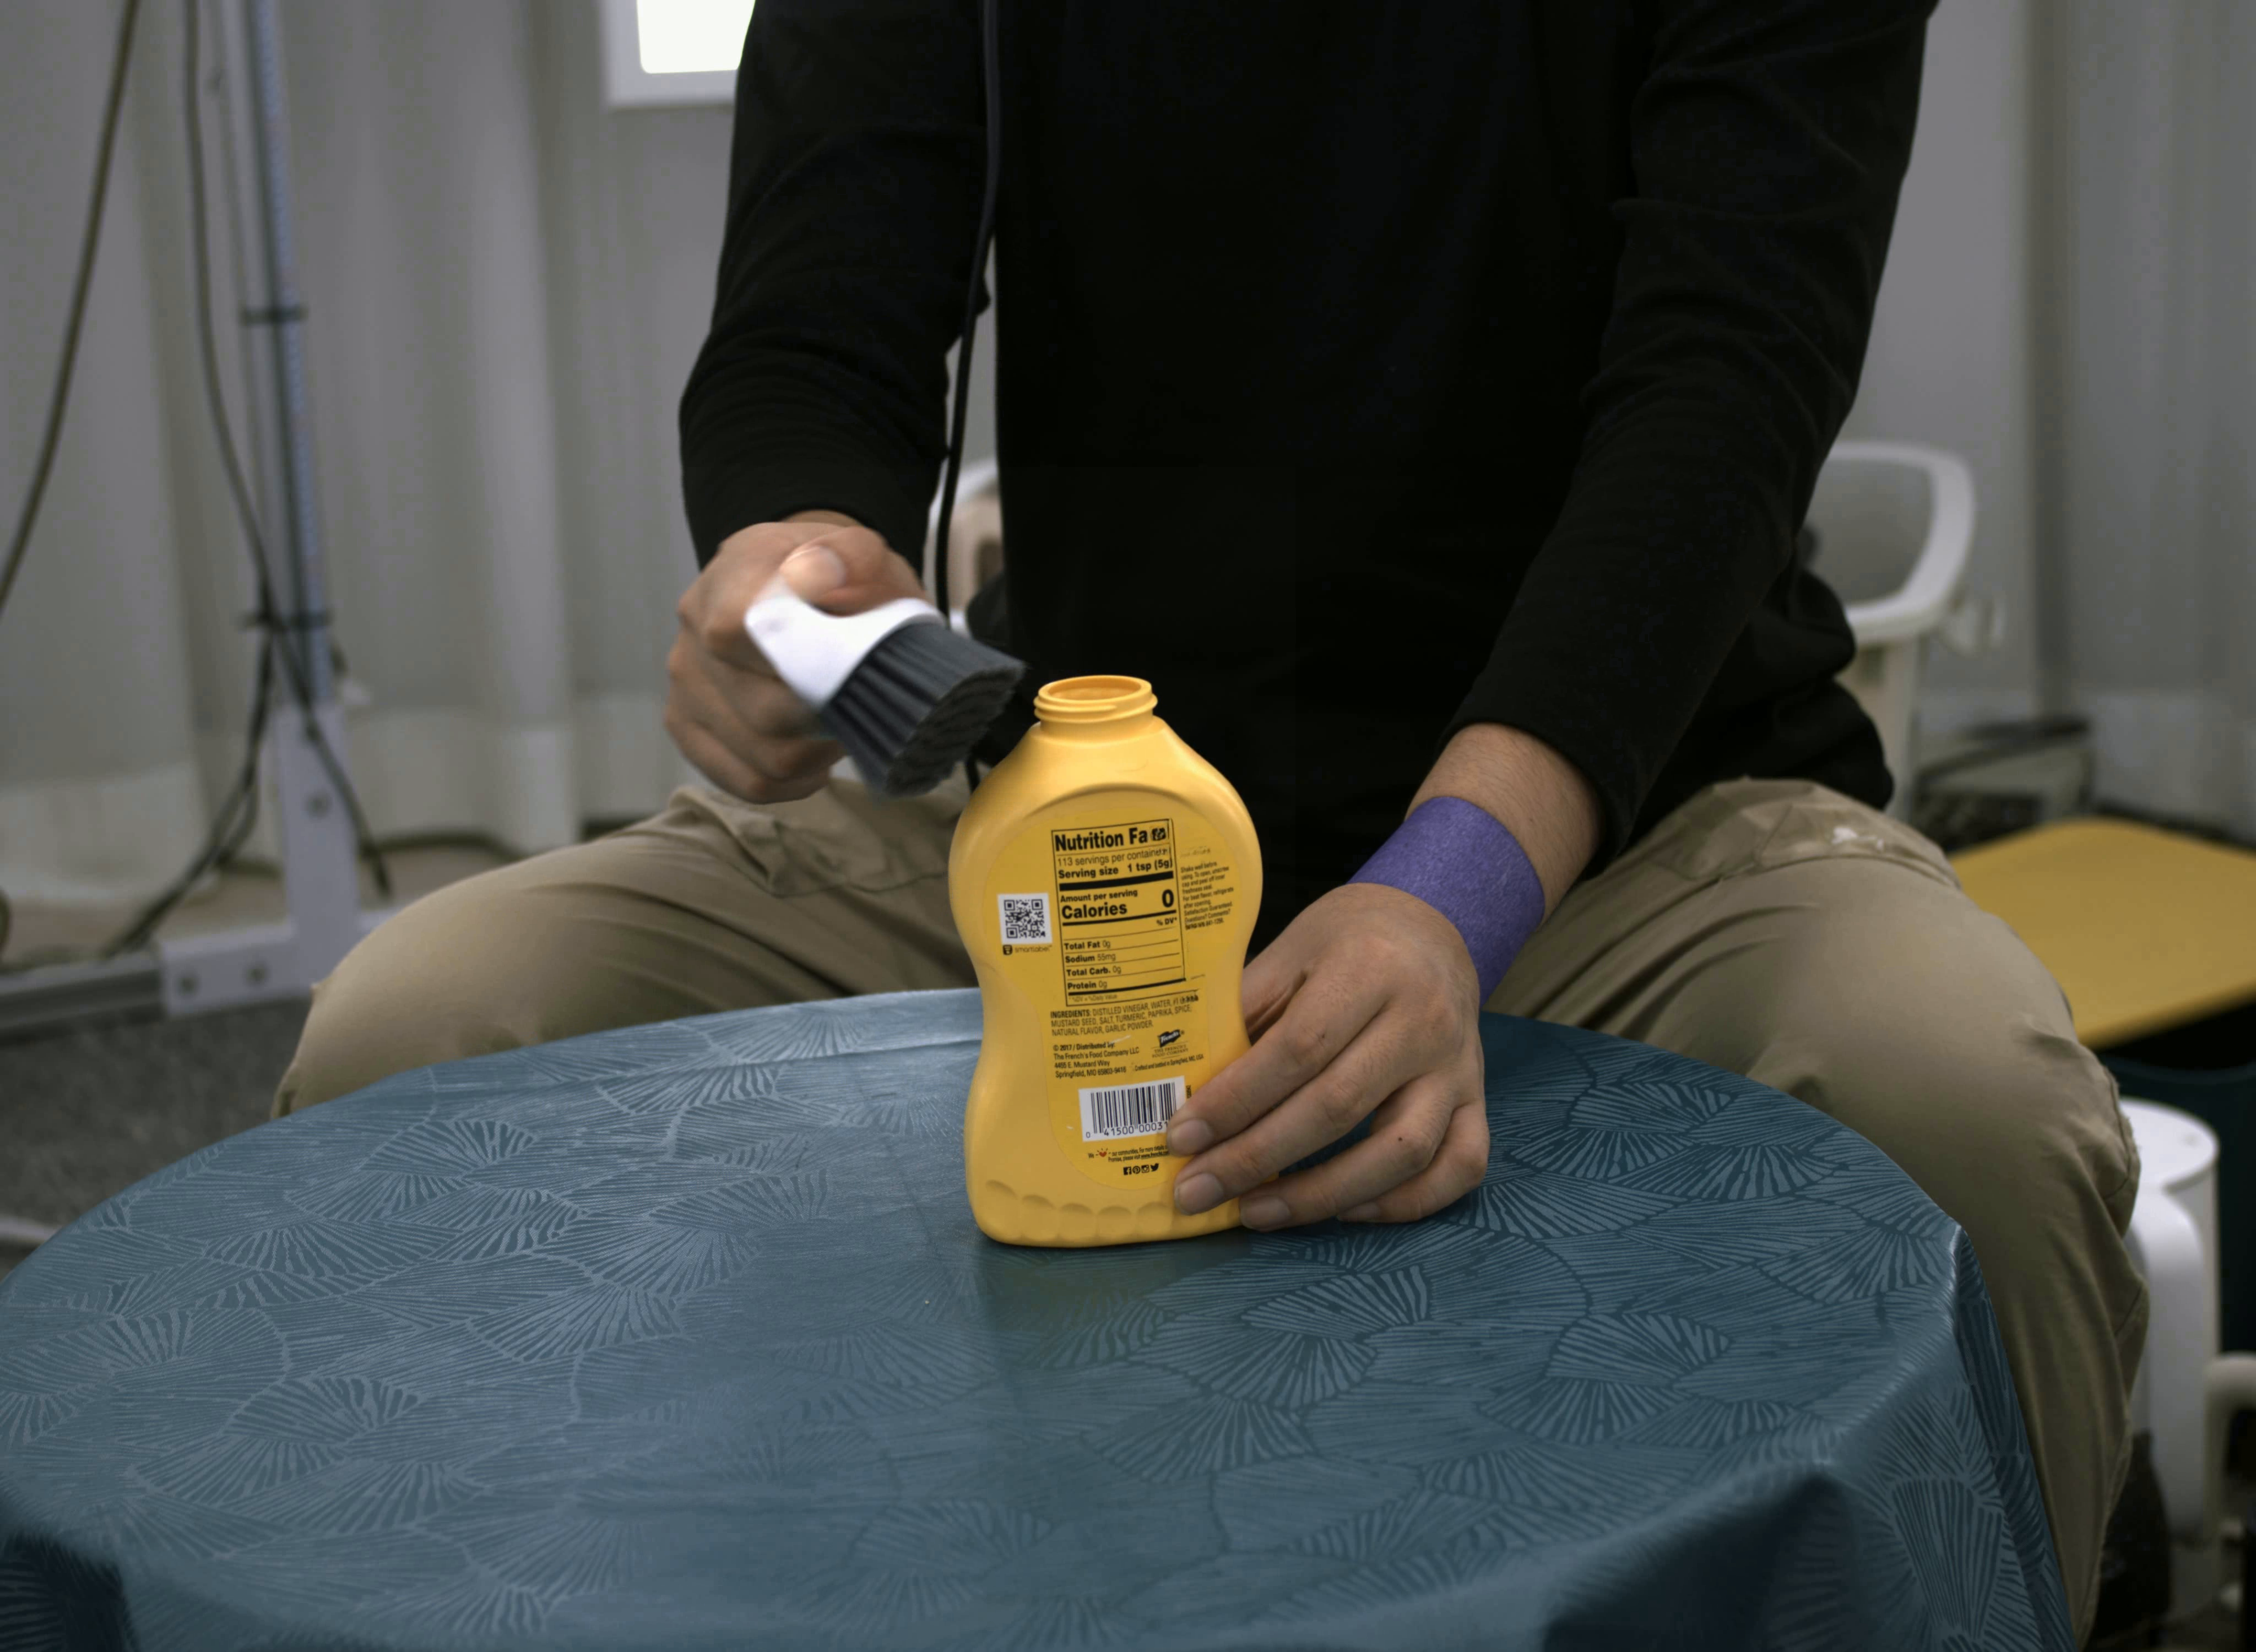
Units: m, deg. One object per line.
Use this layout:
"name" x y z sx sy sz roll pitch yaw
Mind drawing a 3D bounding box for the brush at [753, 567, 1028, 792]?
"brush" -0.078 -0.052 1.663 0.073 0.050 0.099 38 10 10

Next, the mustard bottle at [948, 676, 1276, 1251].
"mustard bottle" -0.007 0.041 1.668 0.098 0.171 0.059 -6 12 -7
